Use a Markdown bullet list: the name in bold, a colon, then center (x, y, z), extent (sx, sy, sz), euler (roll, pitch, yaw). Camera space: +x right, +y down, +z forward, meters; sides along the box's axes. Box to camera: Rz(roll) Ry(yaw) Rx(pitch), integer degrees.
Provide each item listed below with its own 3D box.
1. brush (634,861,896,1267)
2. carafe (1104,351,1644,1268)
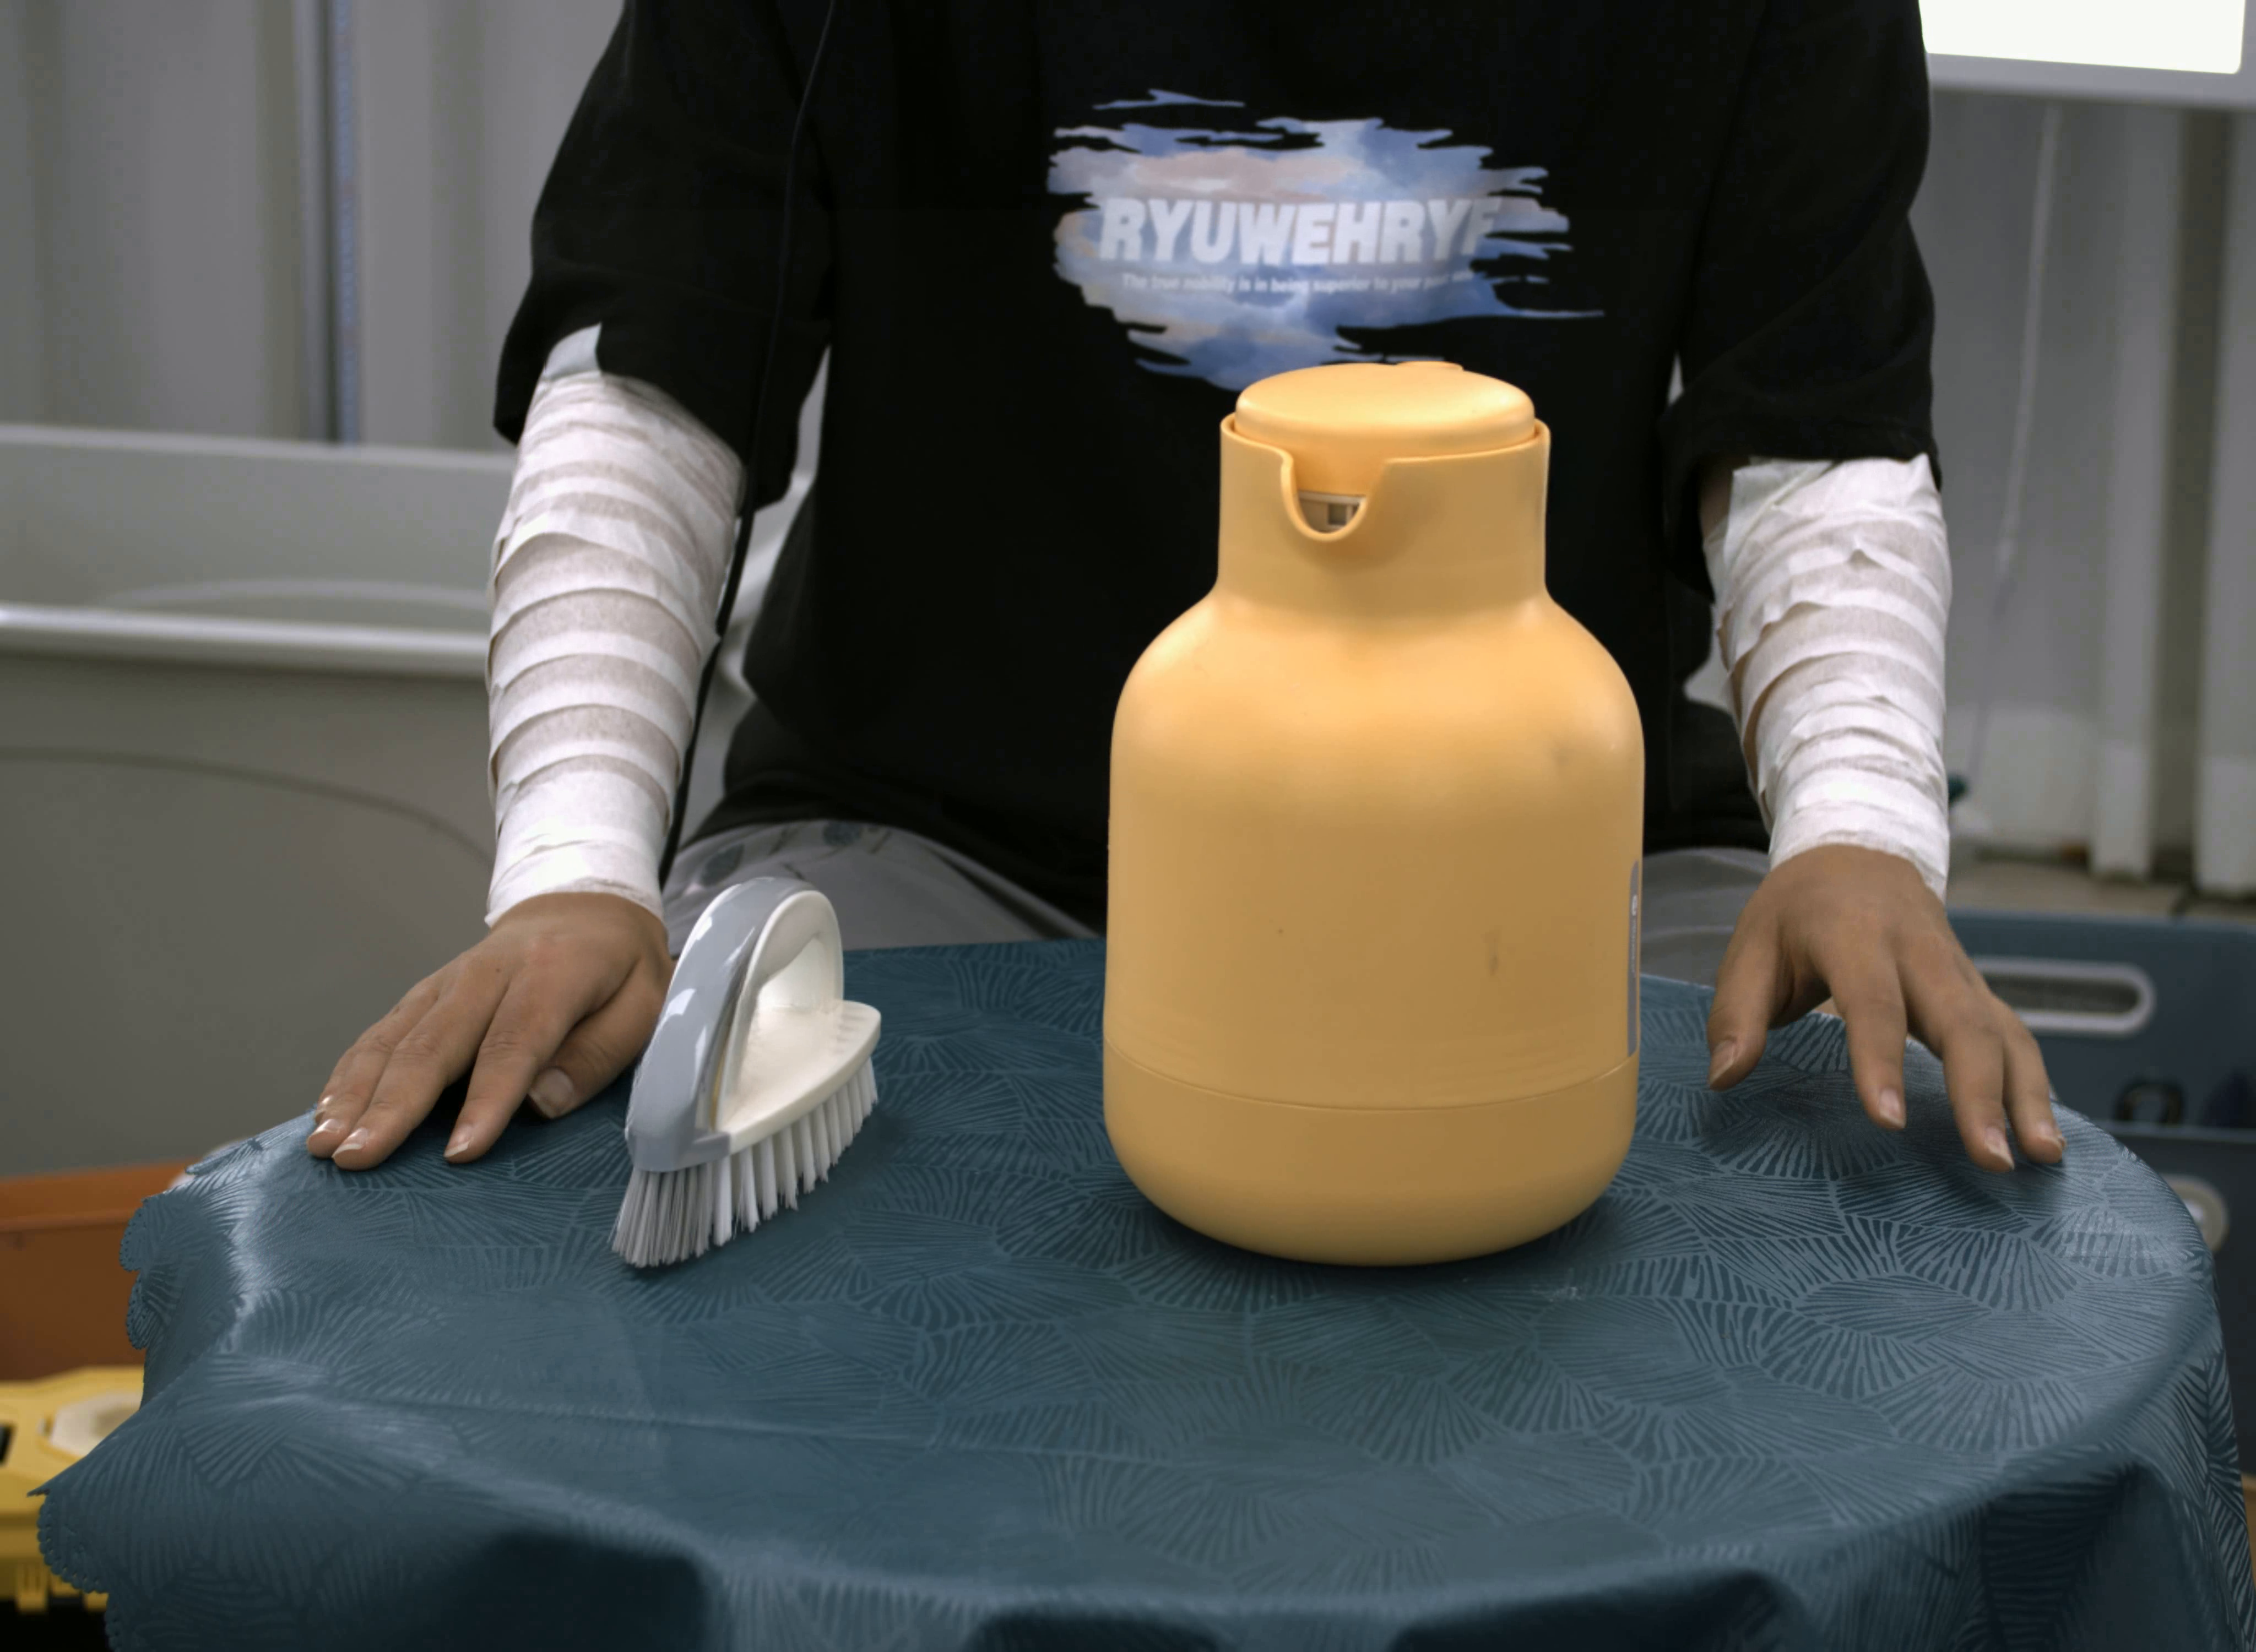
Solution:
- **brush**: center (-0.119, 0.067, 1.610), extent (0.061, 0.095, 0.175), euler (3, 17, 13)
- **carafe**: center (0.082, -0.013, 1.593), extent (0.162, 0.262, 0.202), euler (7, 18, 17)
